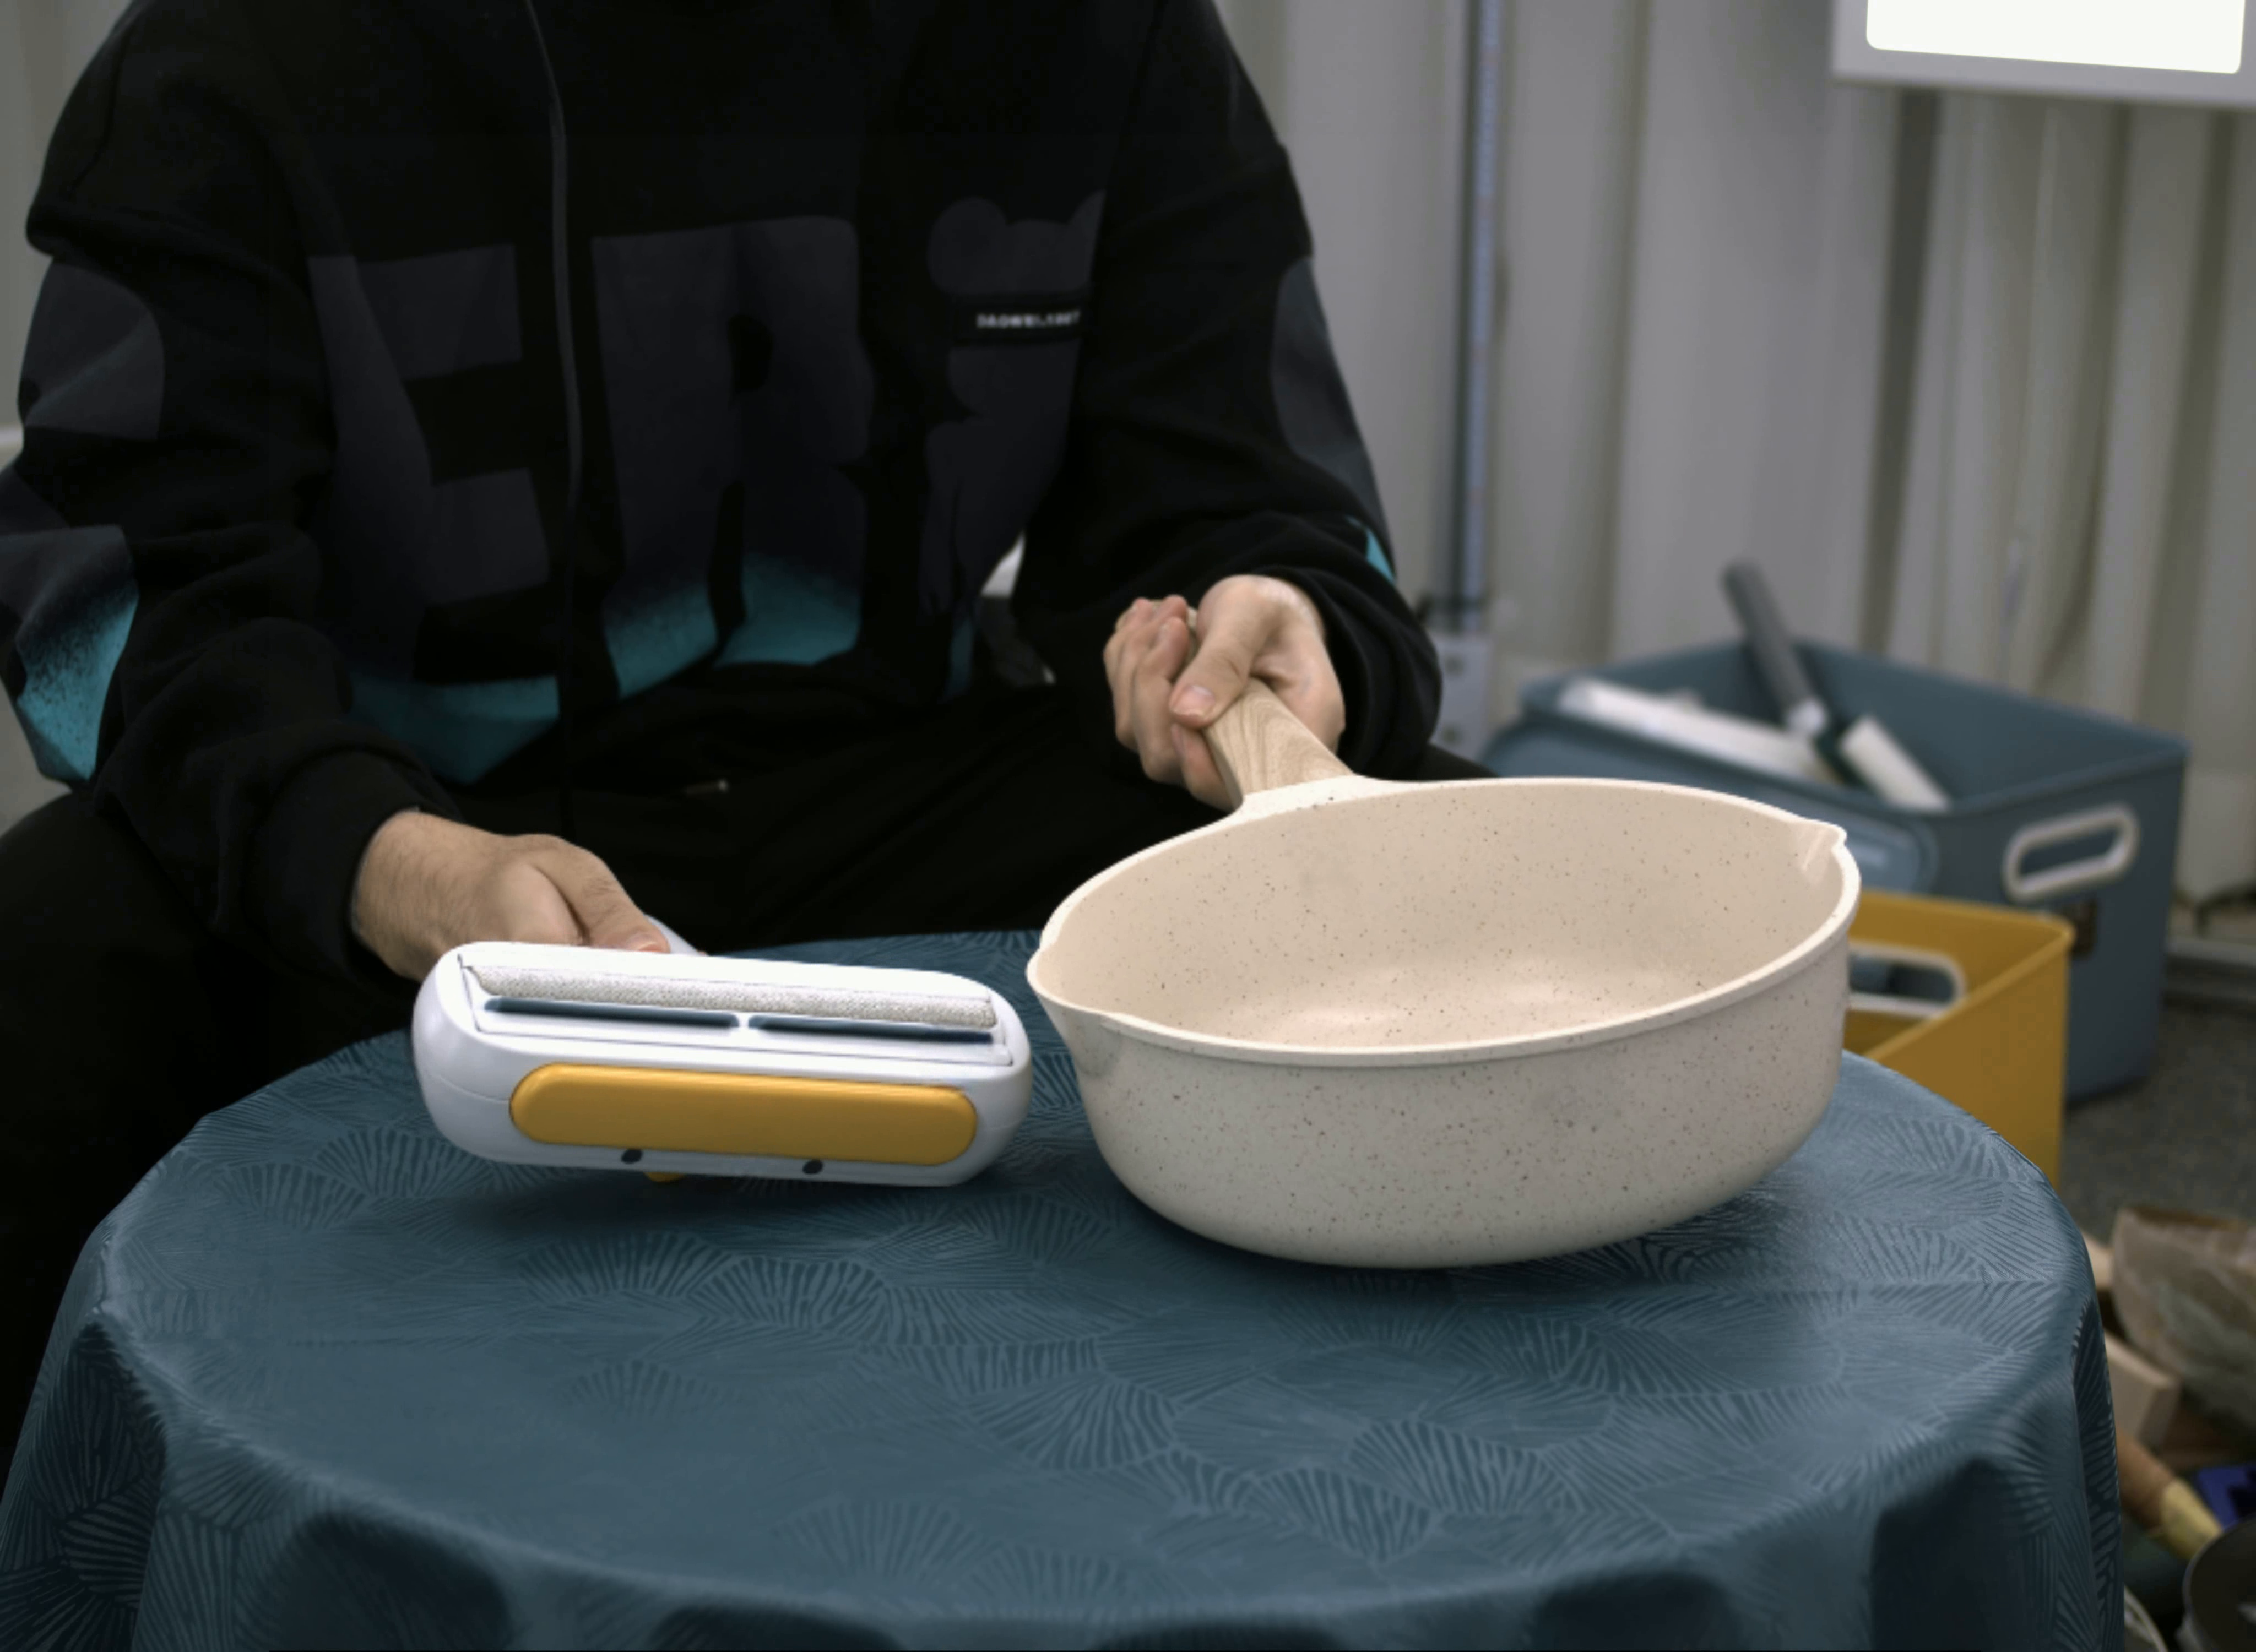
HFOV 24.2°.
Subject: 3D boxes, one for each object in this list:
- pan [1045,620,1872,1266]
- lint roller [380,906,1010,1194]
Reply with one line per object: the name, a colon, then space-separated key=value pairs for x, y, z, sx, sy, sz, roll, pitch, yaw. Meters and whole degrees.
pan: x=0.077 y=0.029 z=1.697 sx=0.263 sy=0.103 sz=0.430 roll=-13 pitch=19 yaw=-15
lint roller: x=-0.144 y=0.056 z=1.657 sx=0.193 sy=0.075 sz=0.190 roll=1 pitch=24 yaw=-15
